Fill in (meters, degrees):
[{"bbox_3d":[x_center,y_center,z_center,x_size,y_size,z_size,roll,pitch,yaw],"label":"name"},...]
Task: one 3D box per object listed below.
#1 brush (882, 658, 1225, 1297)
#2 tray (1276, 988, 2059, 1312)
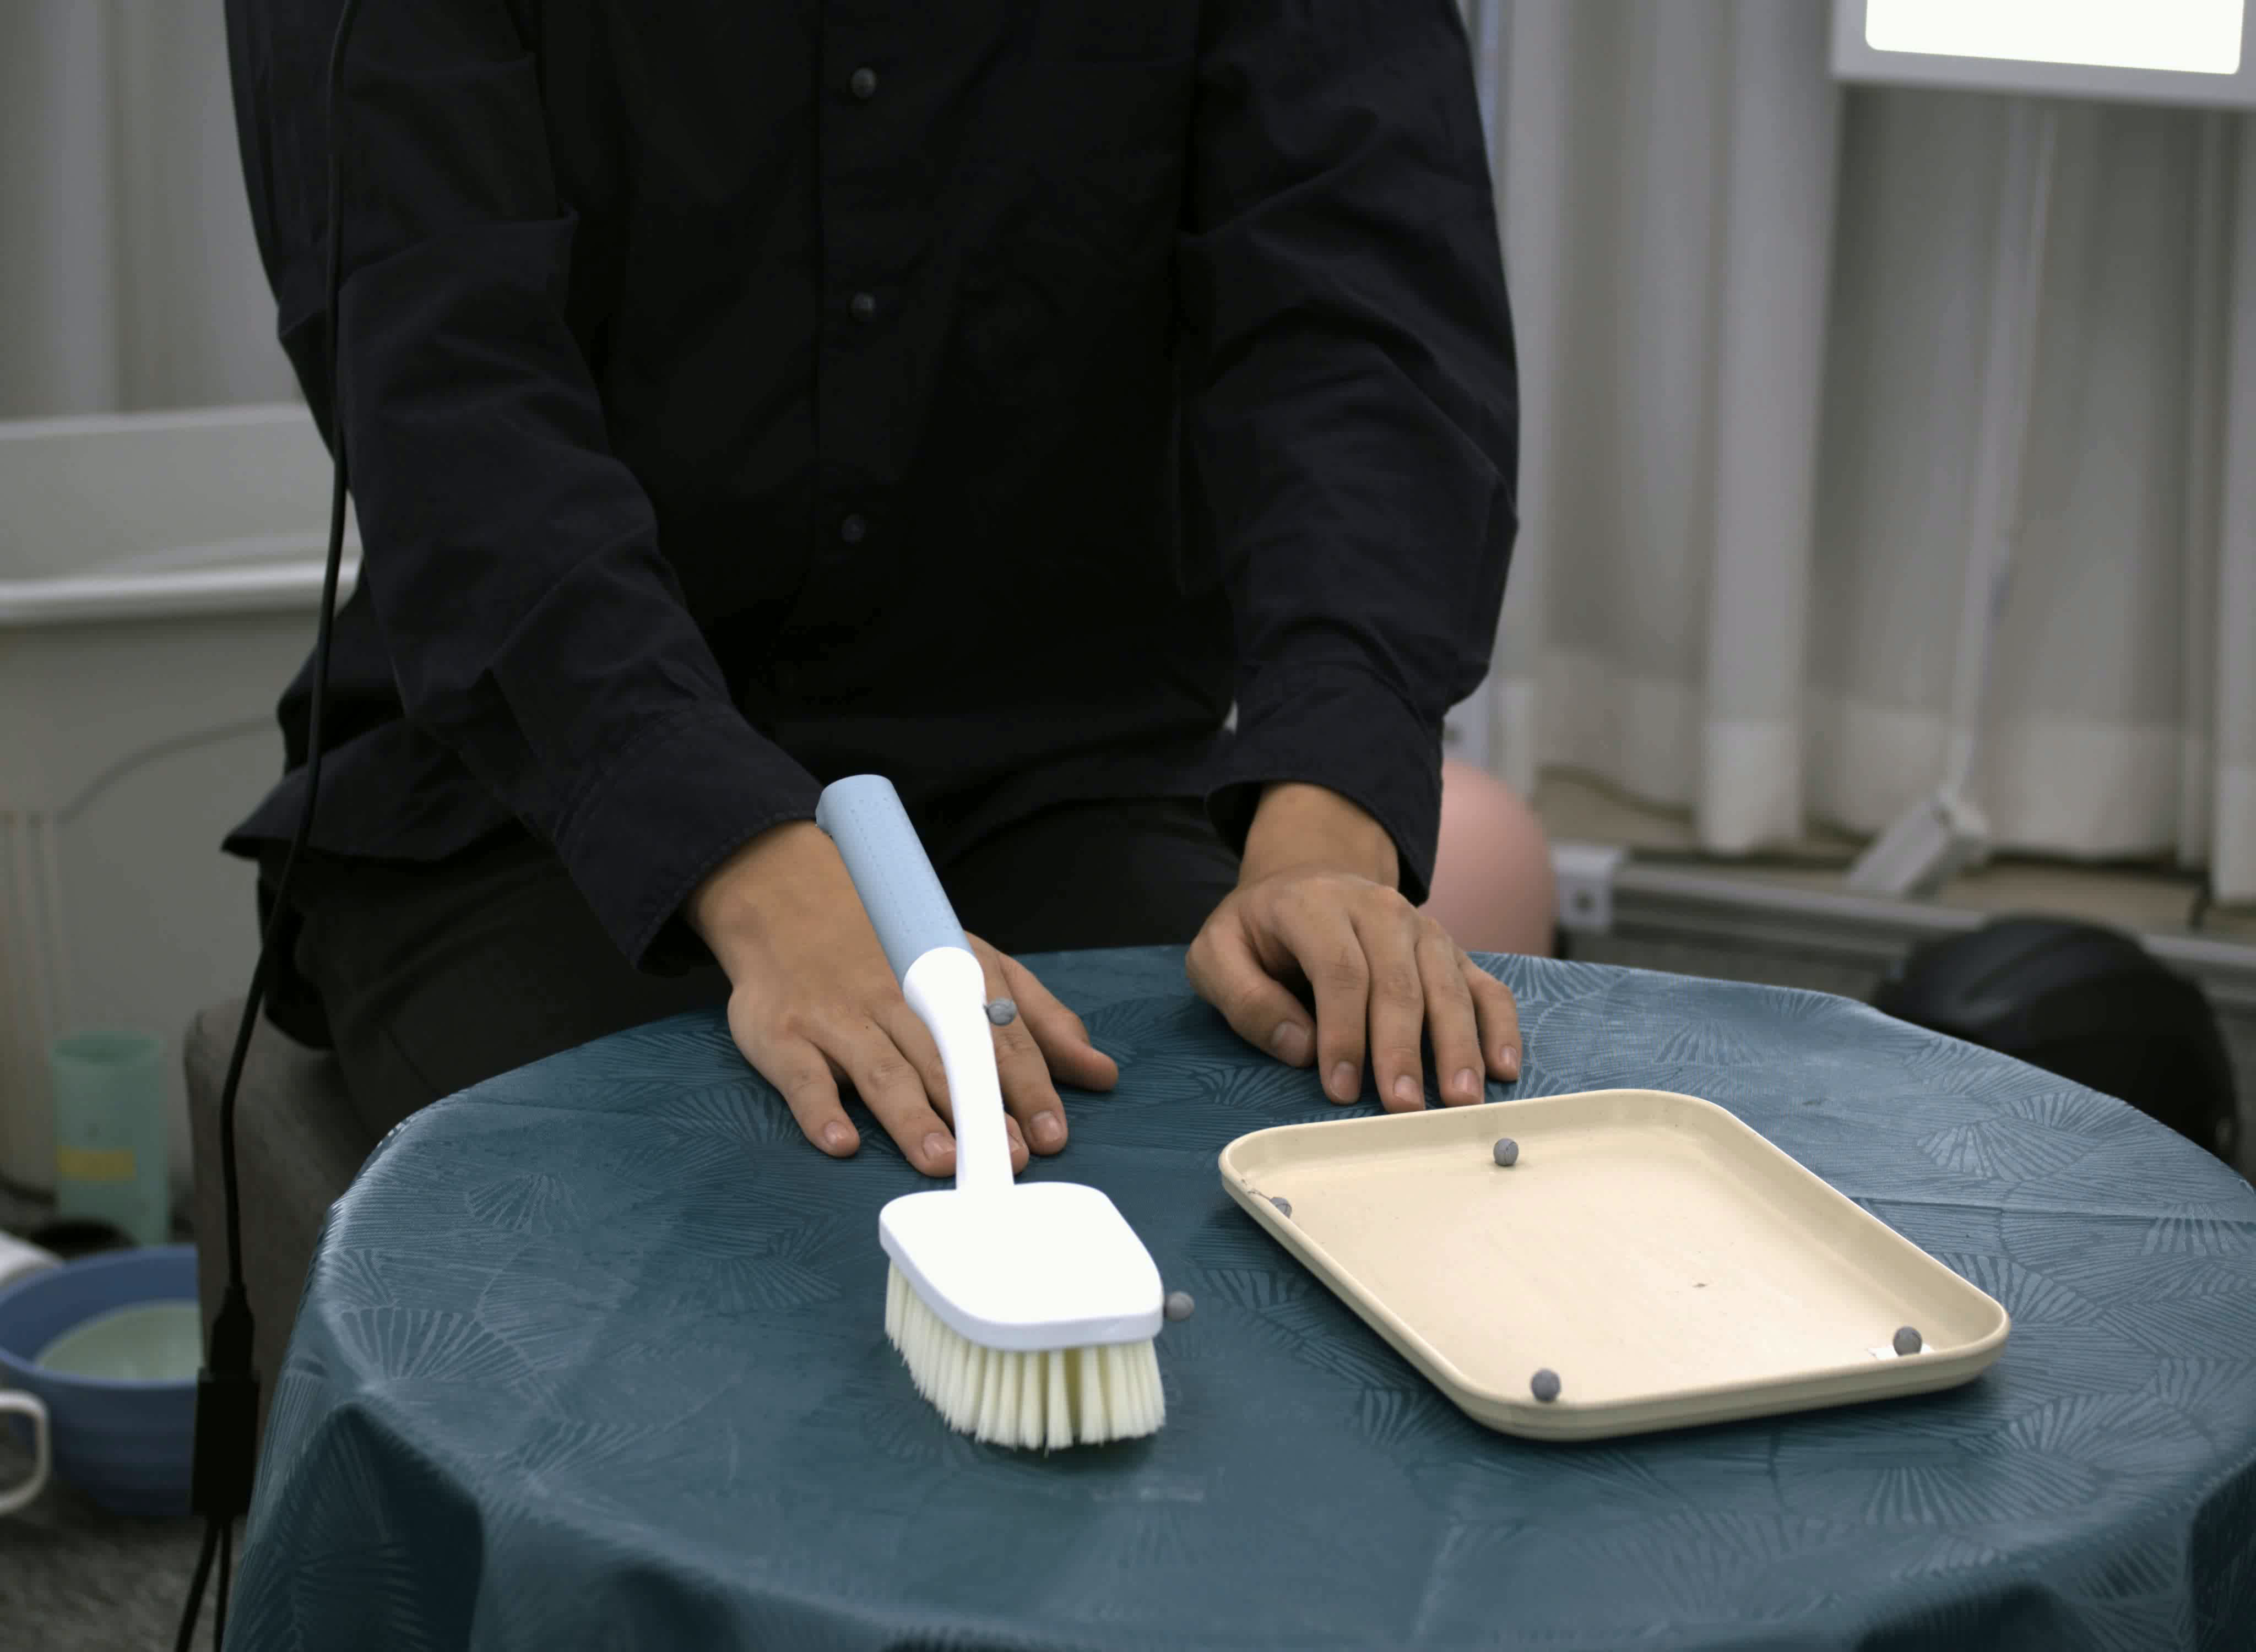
[{"bbox_3d":[-0.029,0.057,1.582,0.084,0.084,0.321,33,15,-28],"label":"brush"},{"bbox_3d":[0.157,0.095,1.578,0.172,0.017,0.237,-4,17,-19],"label":"tray"}]
